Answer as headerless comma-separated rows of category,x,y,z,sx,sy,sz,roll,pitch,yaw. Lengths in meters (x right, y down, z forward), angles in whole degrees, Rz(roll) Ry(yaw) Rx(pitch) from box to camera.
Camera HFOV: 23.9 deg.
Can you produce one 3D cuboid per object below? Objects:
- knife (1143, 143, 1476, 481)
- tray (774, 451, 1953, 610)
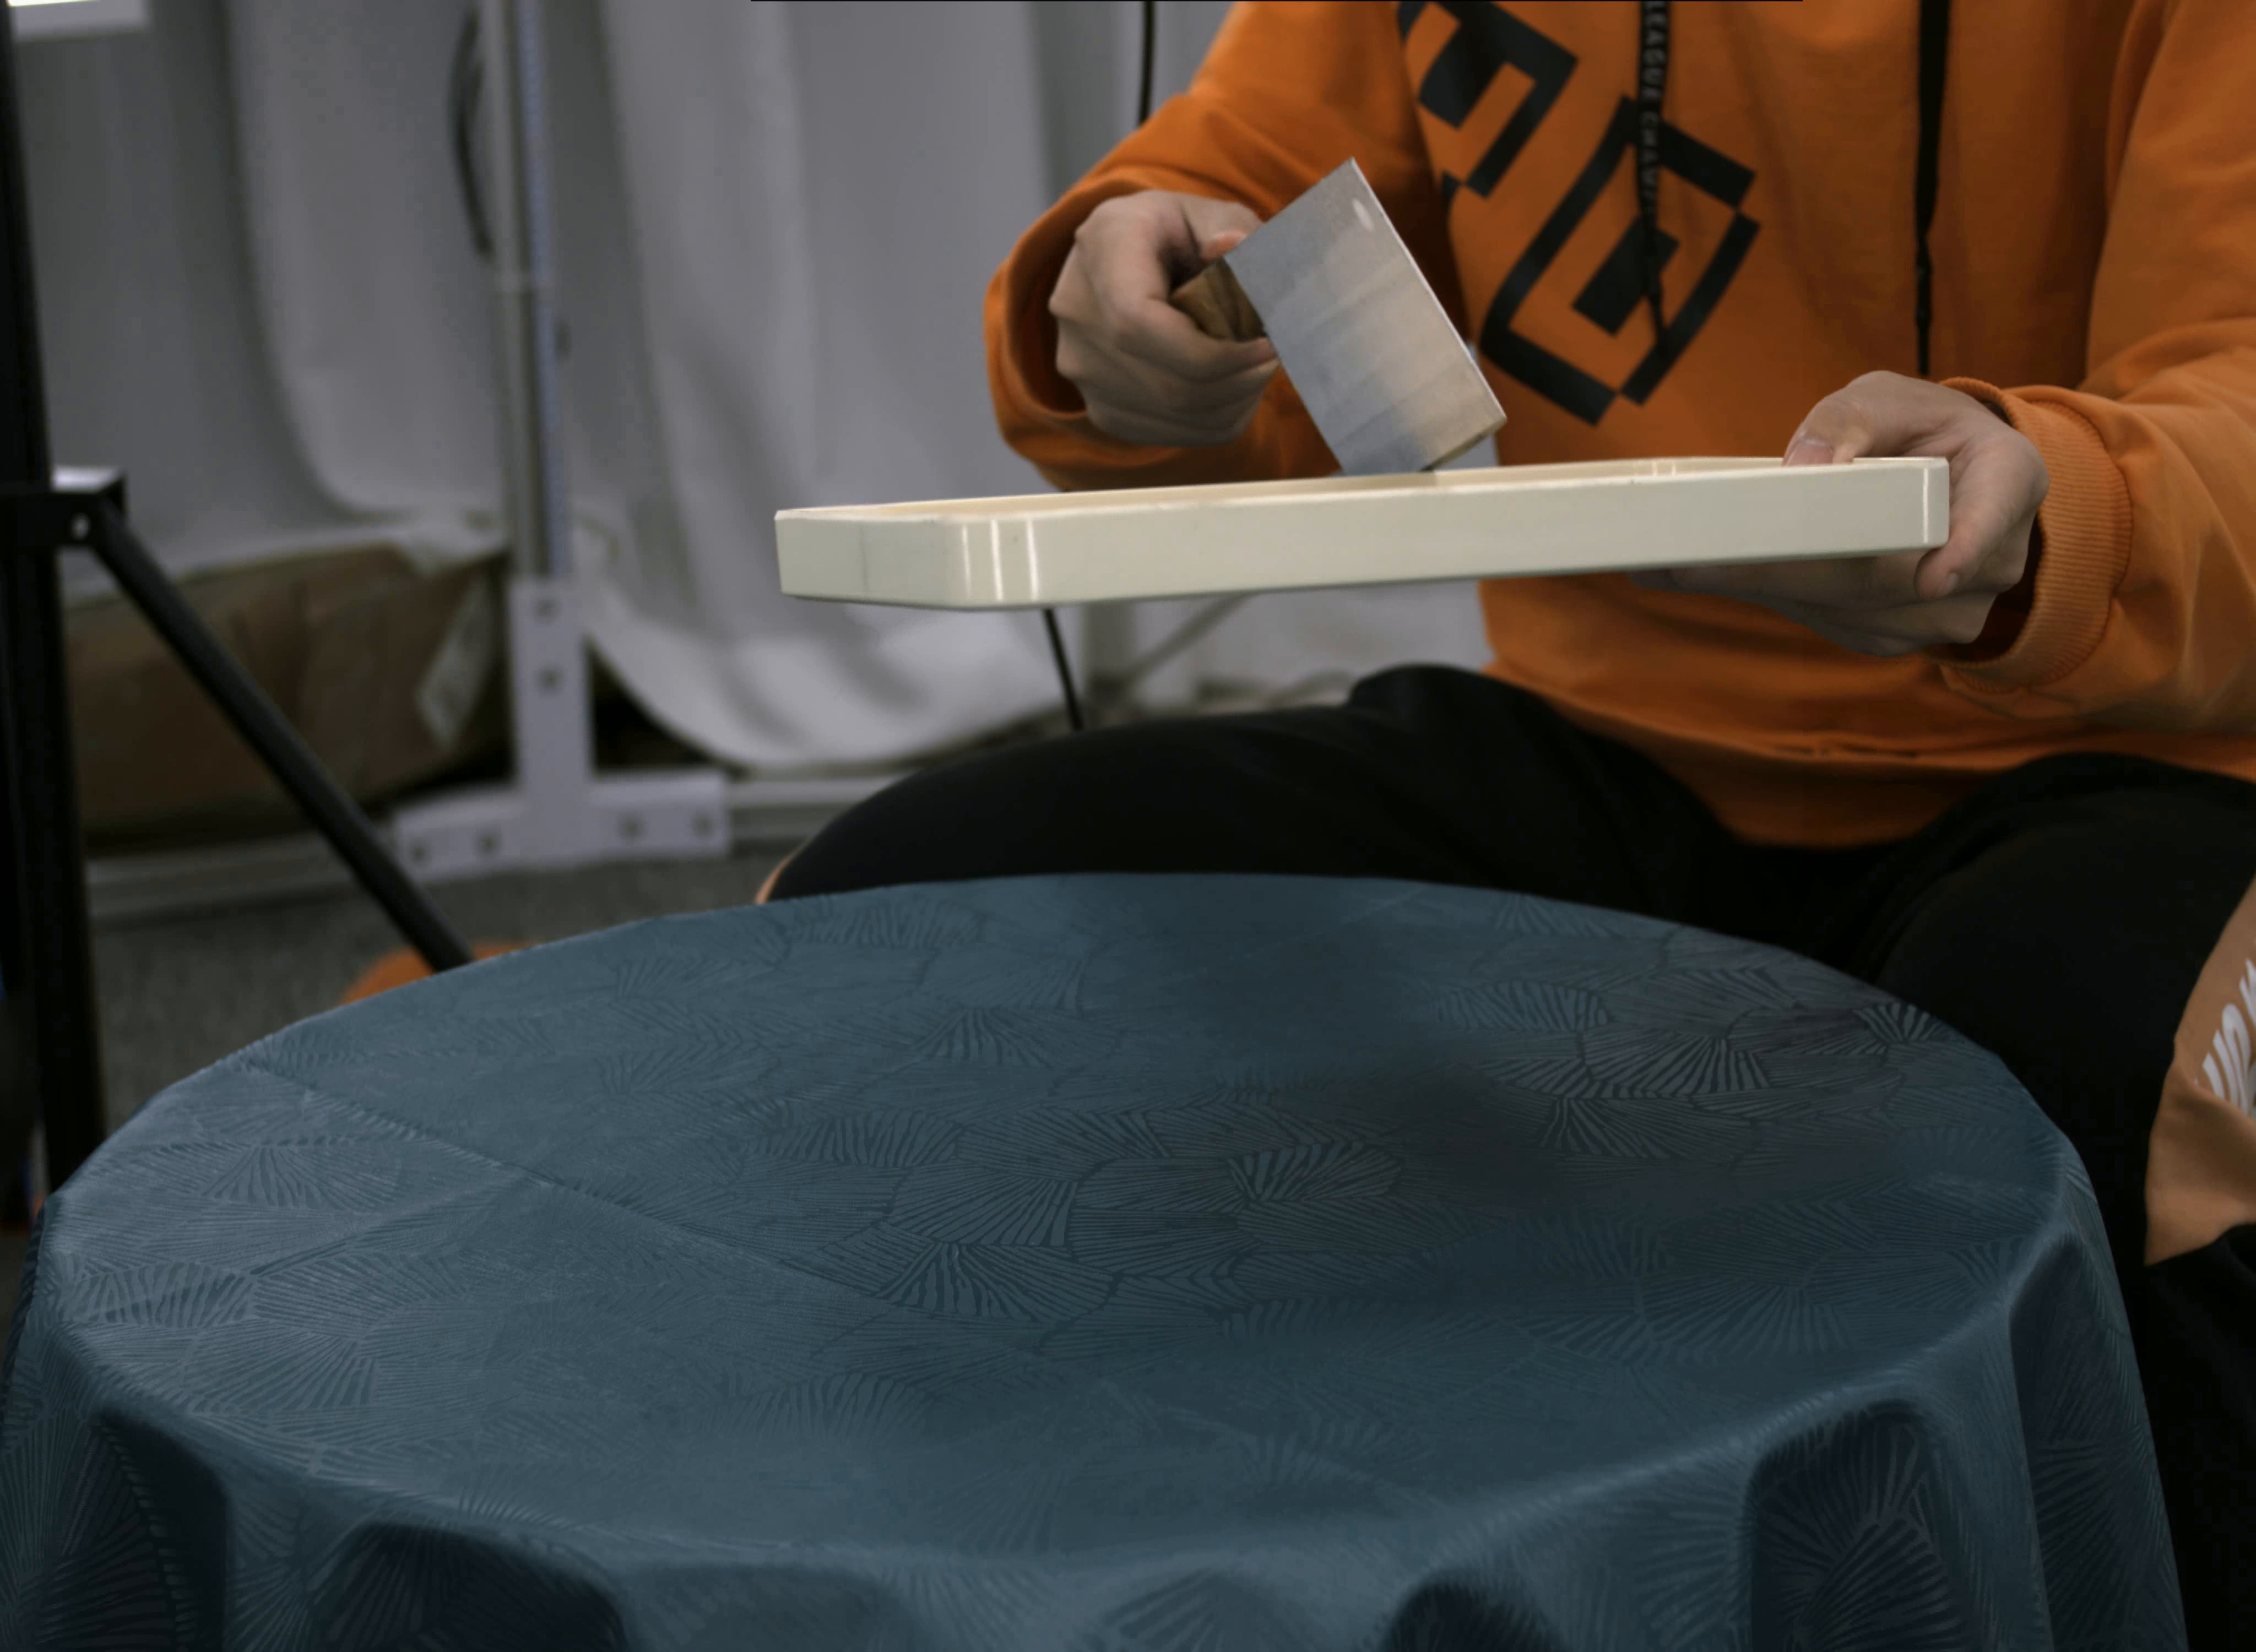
knife,0.058,-0.149,1.681,0.021,0.093,0.307,-31,2,-11
tray,0.065,-0.085,1.519,0.295,0.027,0.194,-5,5,-18
